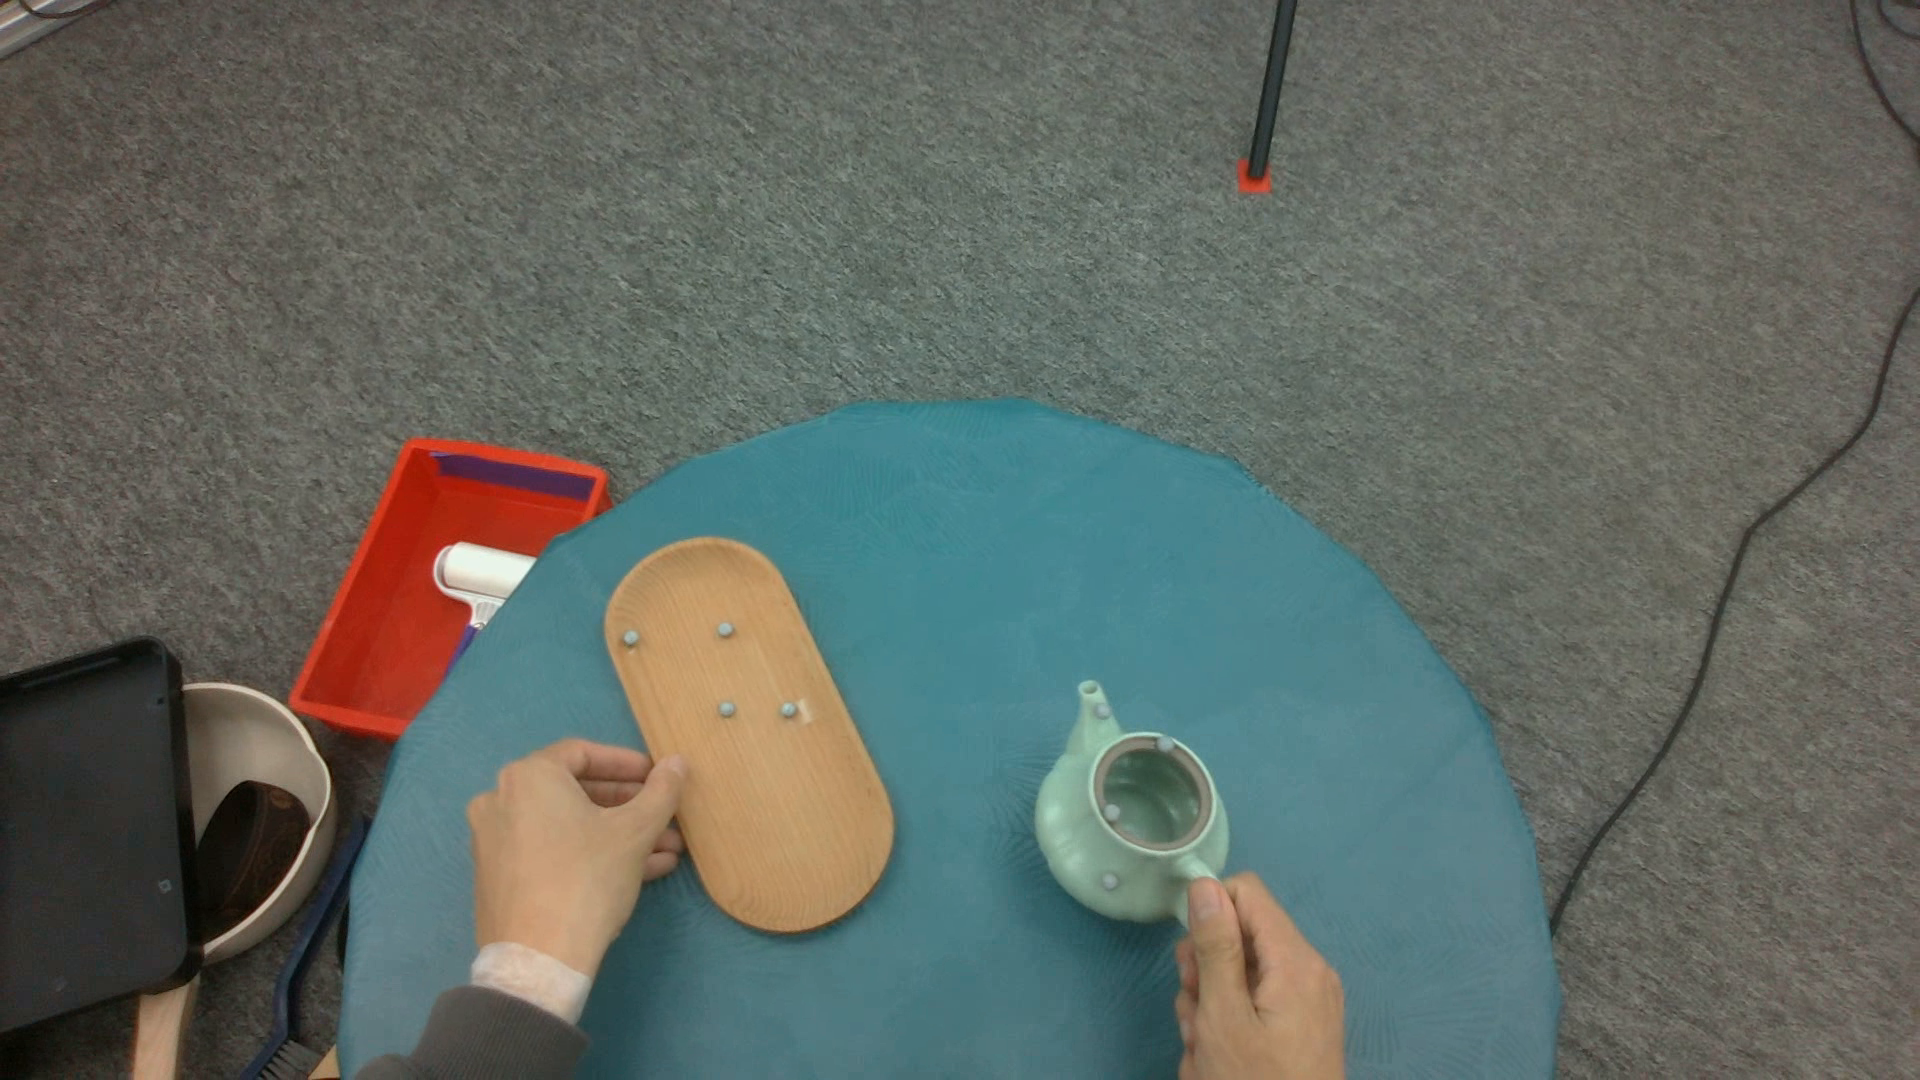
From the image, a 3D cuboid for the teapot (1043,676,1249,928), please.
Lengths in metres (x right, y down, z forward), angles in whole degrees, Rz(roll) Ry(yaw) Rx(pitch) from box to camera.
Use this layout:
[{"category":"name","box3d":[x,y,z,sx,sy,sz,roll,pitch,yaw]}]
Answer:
[{"category":"teapot","box3d":[0.093,0.134,0.677,0.096,0.061,0.137,-21,61,-25]}]

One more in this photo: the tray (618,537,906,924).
[{"category":"tray","box3d":[-0.109,0.096,0.740,0.102,0.020,0.231,-24,66,-13]}]
